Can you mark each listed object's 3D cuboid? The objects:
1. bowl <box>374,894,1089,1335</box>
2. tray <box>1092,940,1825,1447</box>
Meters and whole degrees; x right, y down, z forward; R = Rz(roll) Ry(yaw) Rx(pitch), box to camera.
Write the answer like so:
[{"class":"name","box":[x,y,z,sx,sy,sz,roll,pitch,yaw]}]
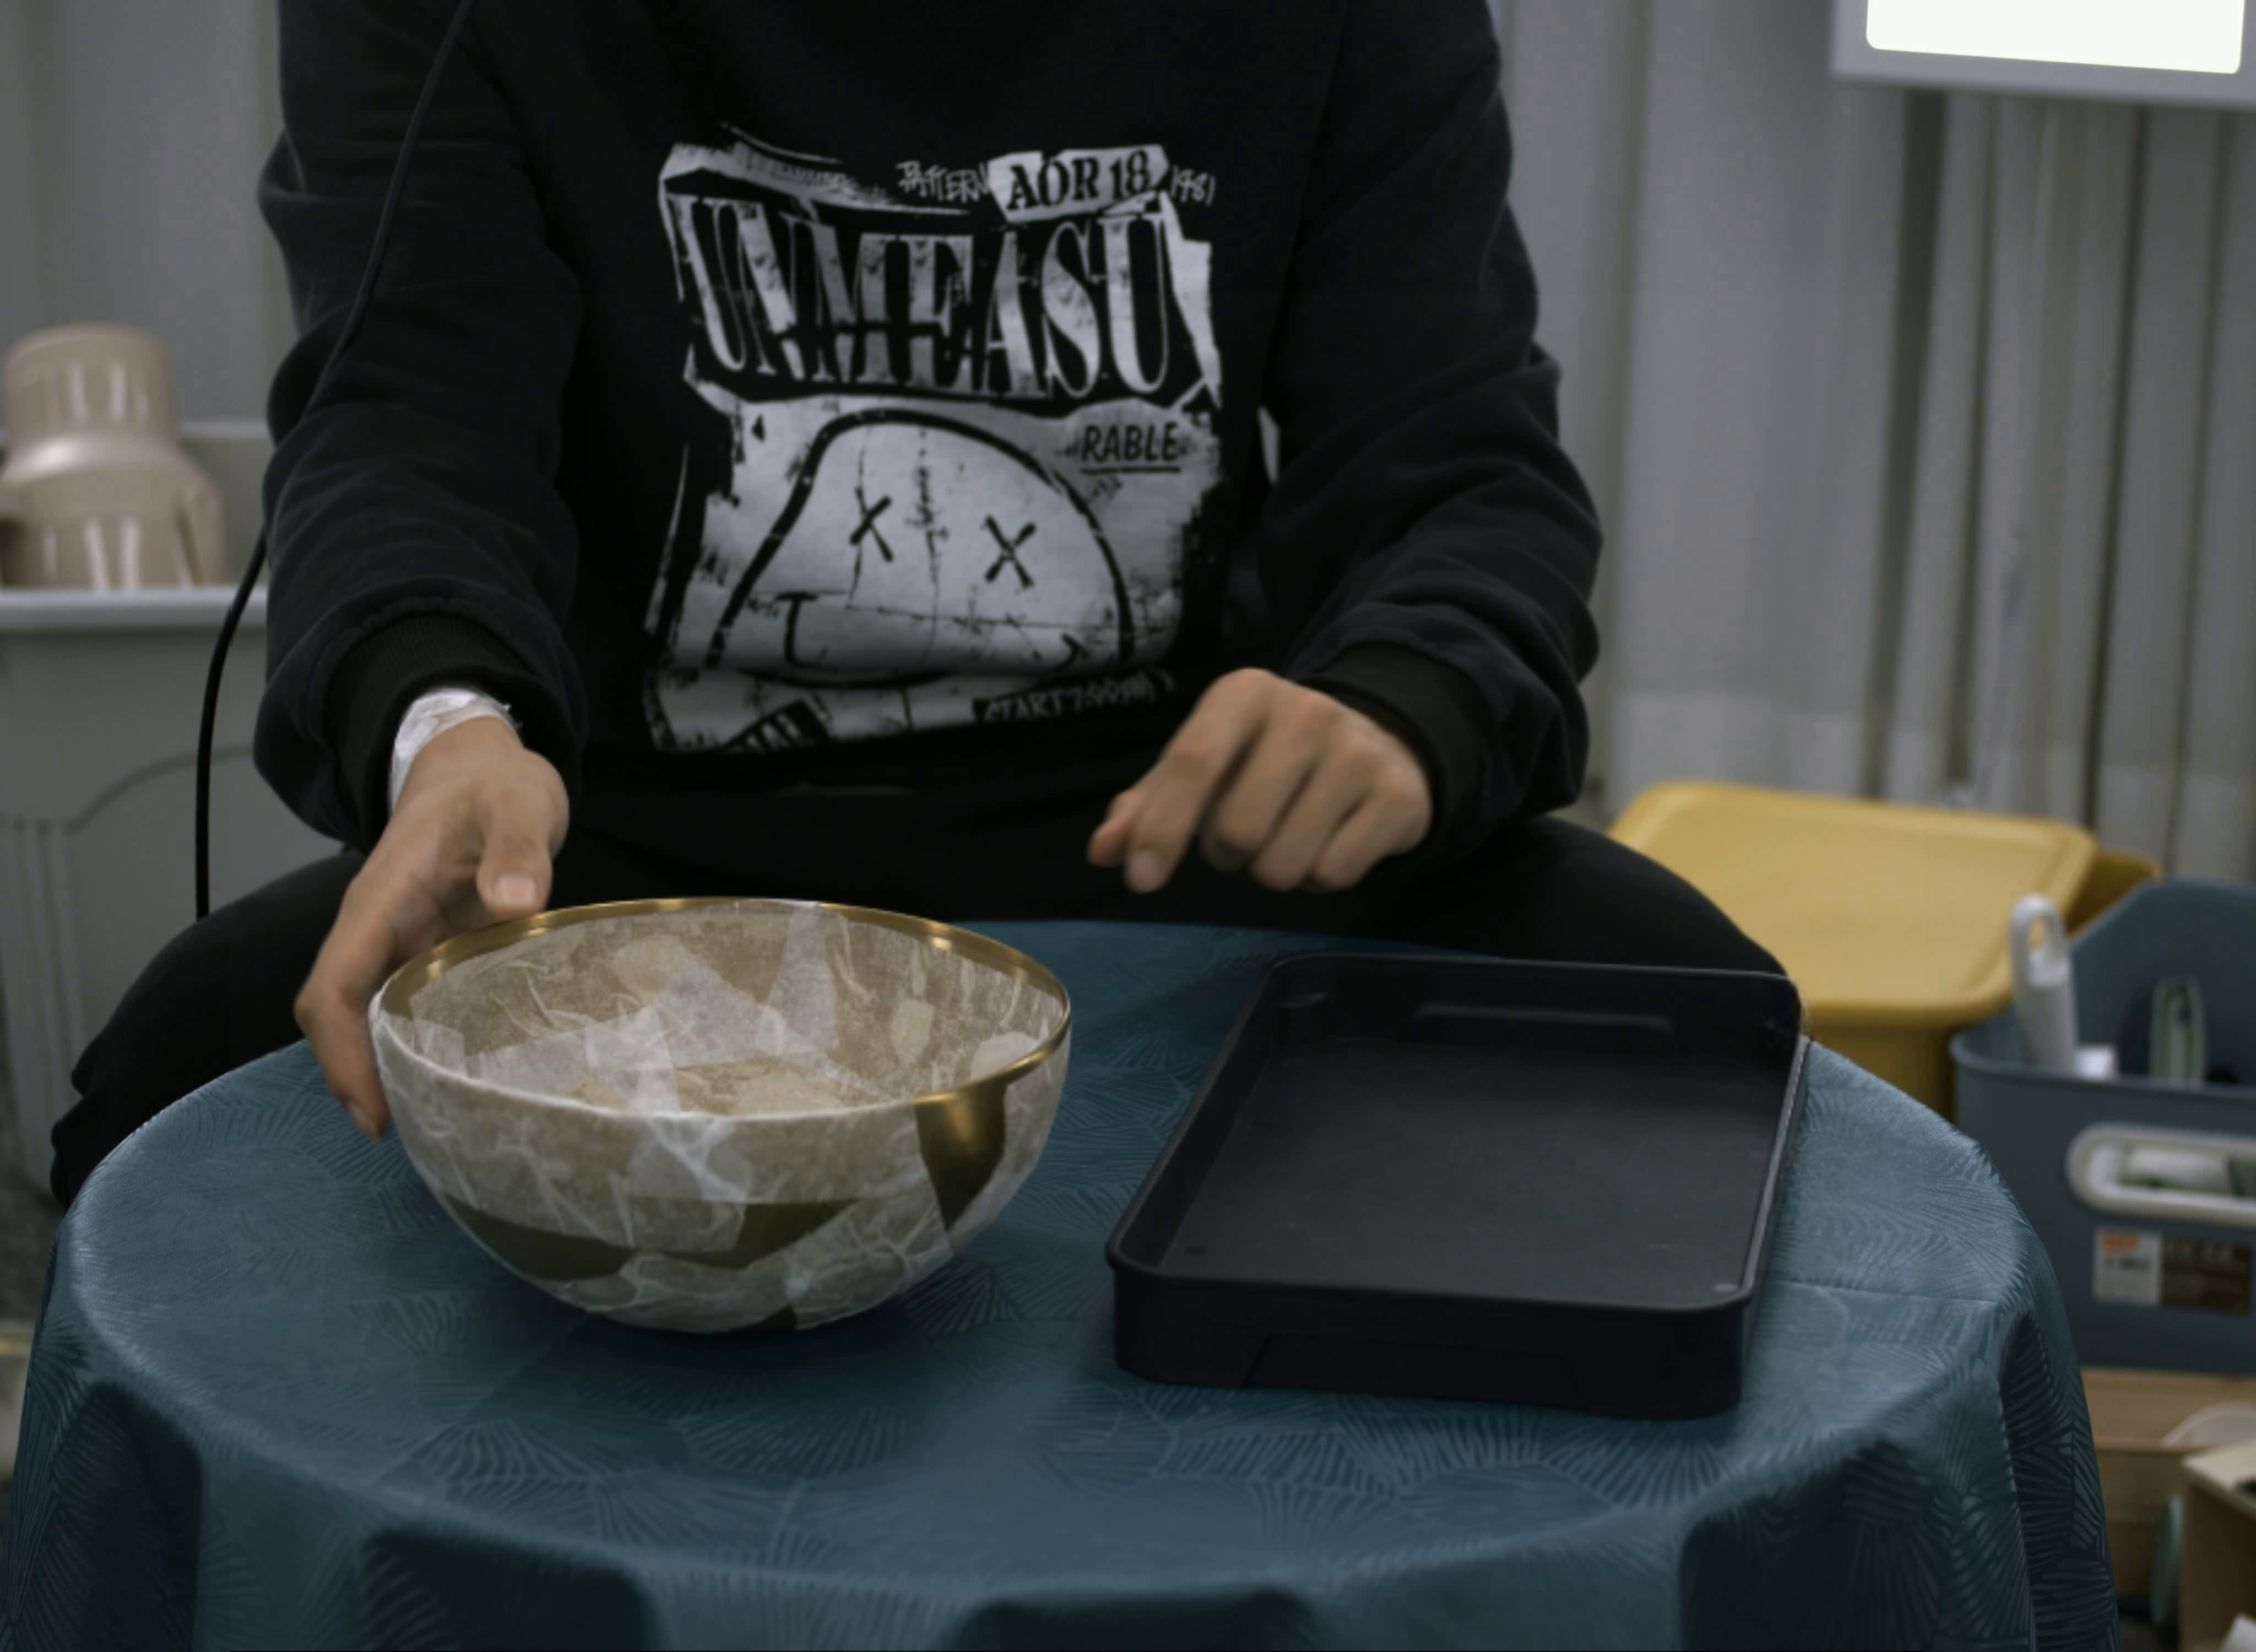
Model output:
[{"class":"bowl","box":[-0.113,0.091,1.525,0.214,0.095,0.213,1,16,0]},{"class":"tray","box":[0.108,0.105,1.601,0.183,0.037,0.317,4,18,11]}]
